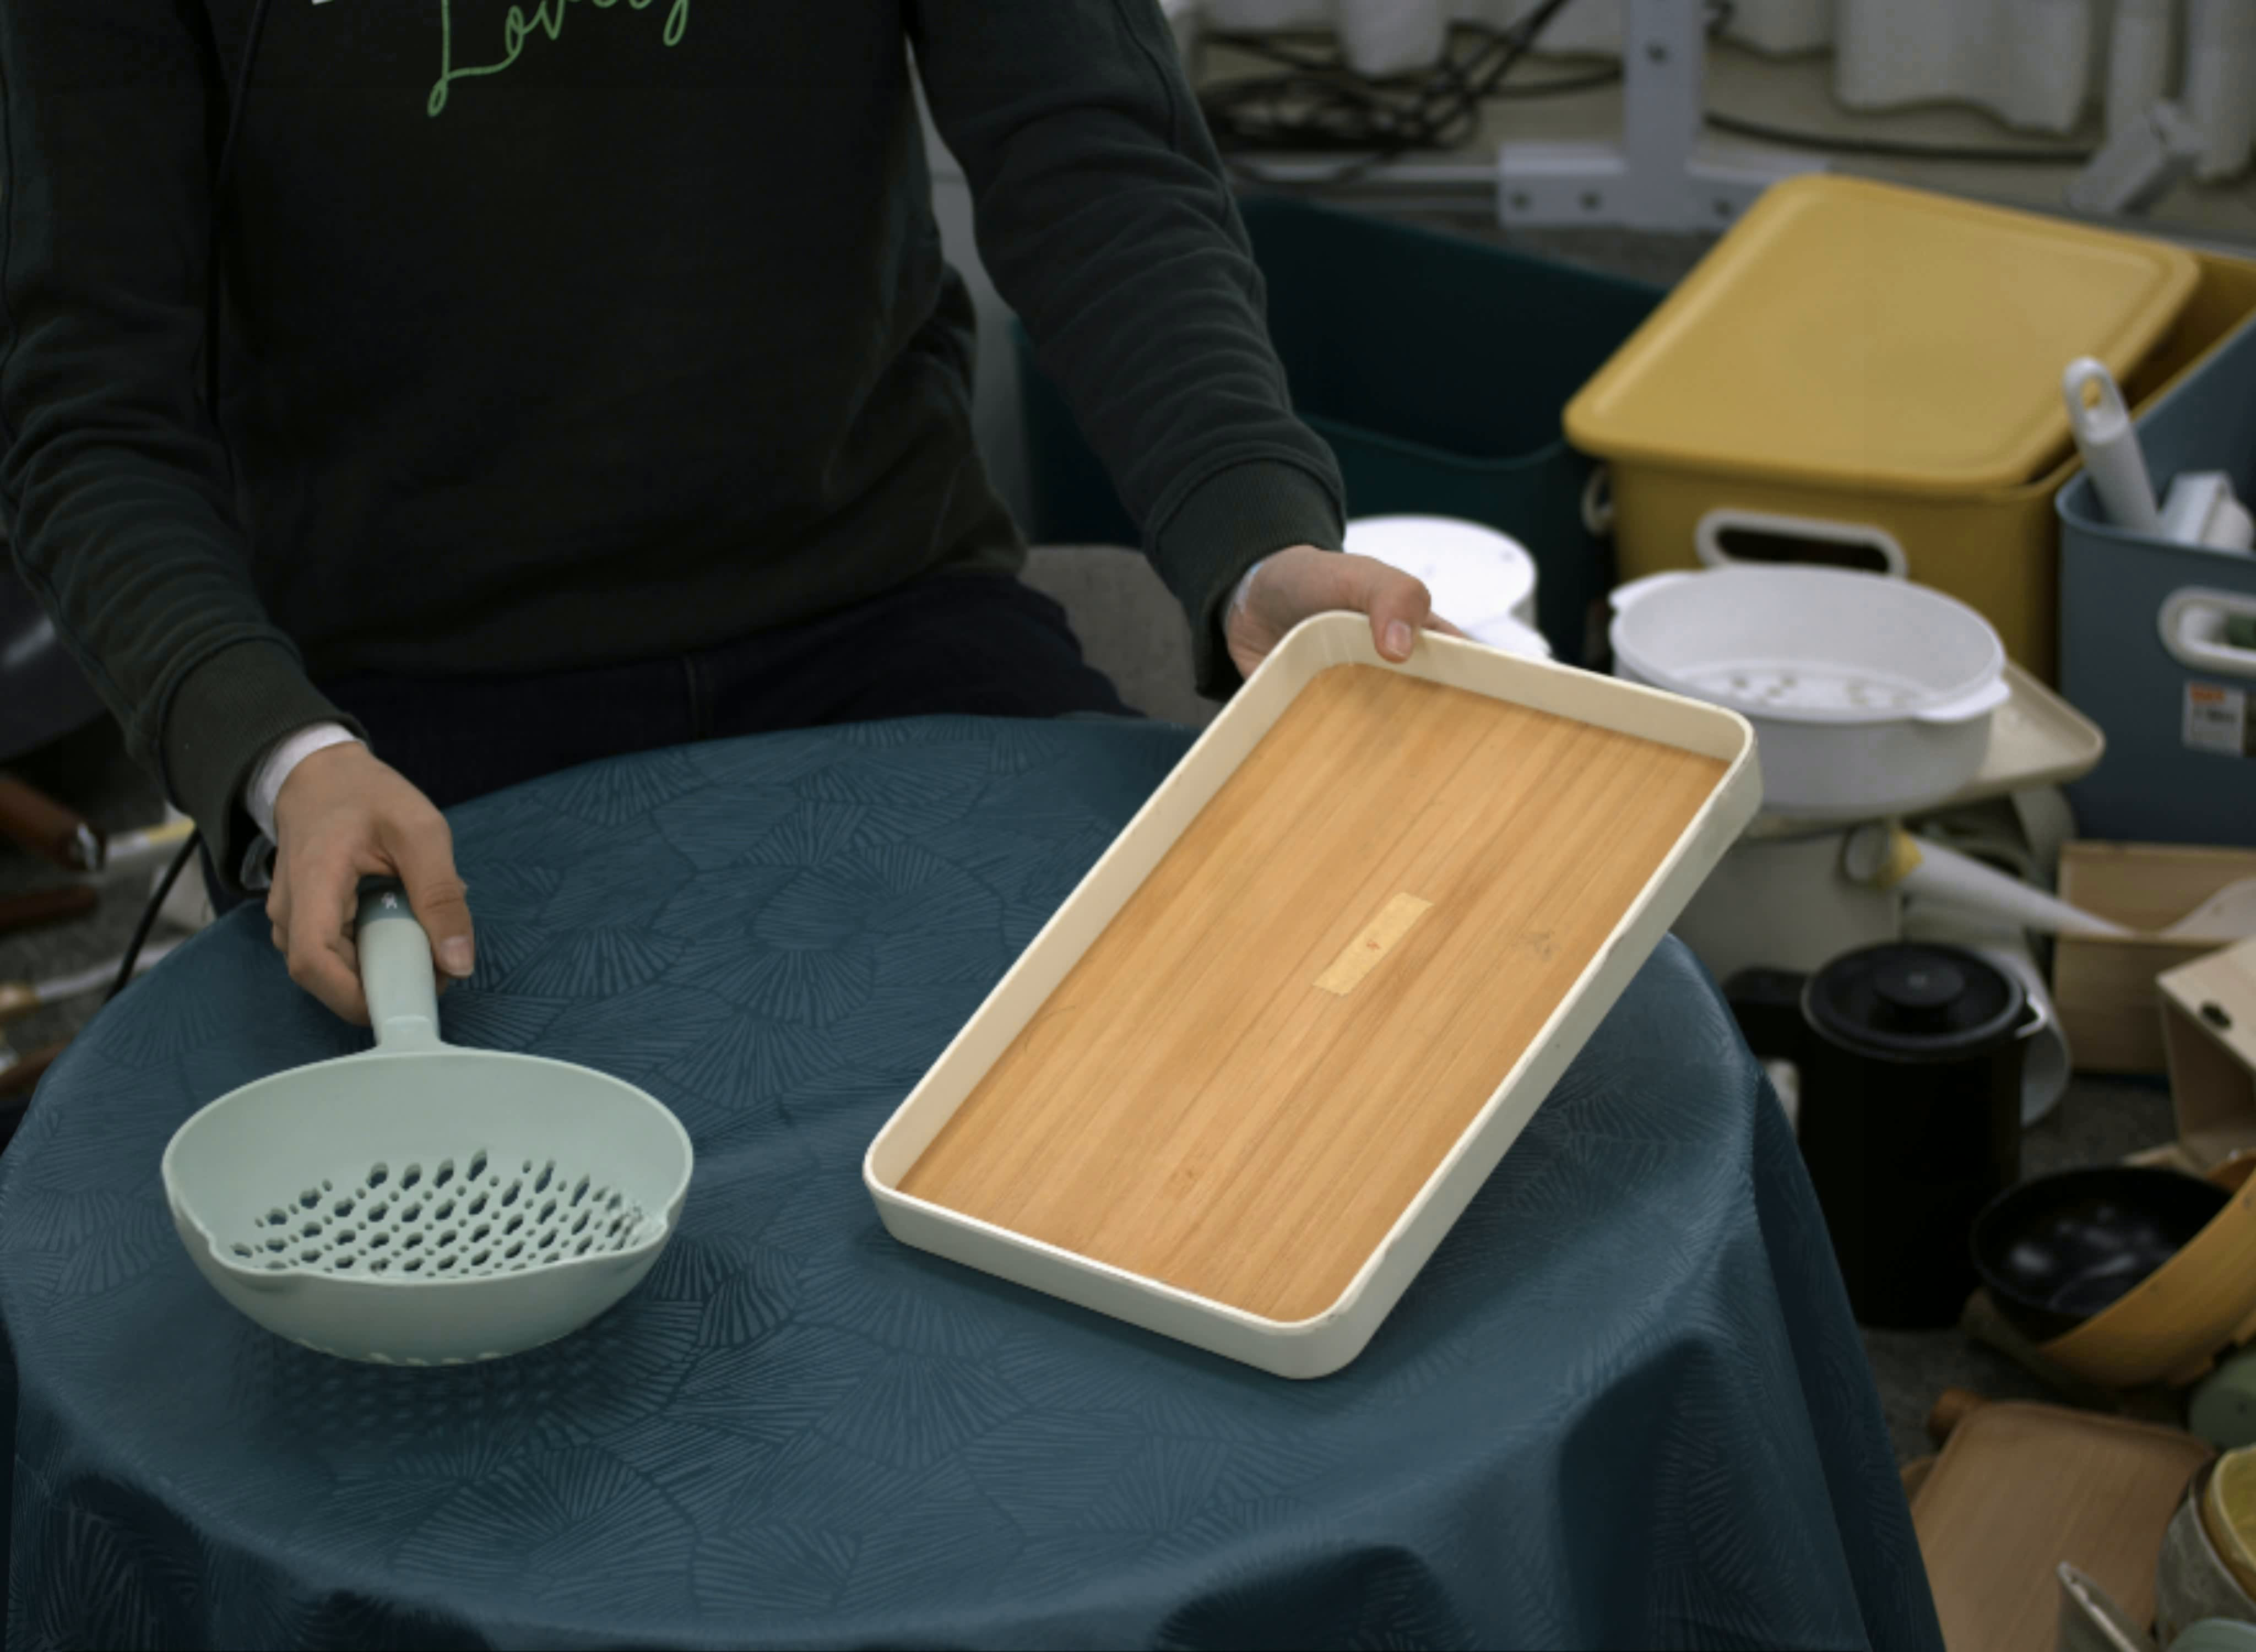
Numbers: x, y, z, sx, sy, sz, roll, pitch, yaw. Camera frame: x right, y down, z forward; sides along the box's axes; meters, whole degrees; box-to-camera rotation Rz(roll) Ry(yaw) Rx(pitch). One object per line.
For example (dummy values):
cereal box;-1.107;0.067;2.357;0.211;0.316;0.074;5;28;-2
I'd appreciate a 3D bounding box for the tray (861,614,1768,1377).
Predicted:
tray;0.065;0.049;1.873;0.191;0.027;0.305;16;49;32

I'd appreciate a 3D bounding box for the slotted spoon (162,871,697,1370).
slotted spoon;-0.239;0.083;1.878;0.169;0.074;0.363;-1;29;-10
